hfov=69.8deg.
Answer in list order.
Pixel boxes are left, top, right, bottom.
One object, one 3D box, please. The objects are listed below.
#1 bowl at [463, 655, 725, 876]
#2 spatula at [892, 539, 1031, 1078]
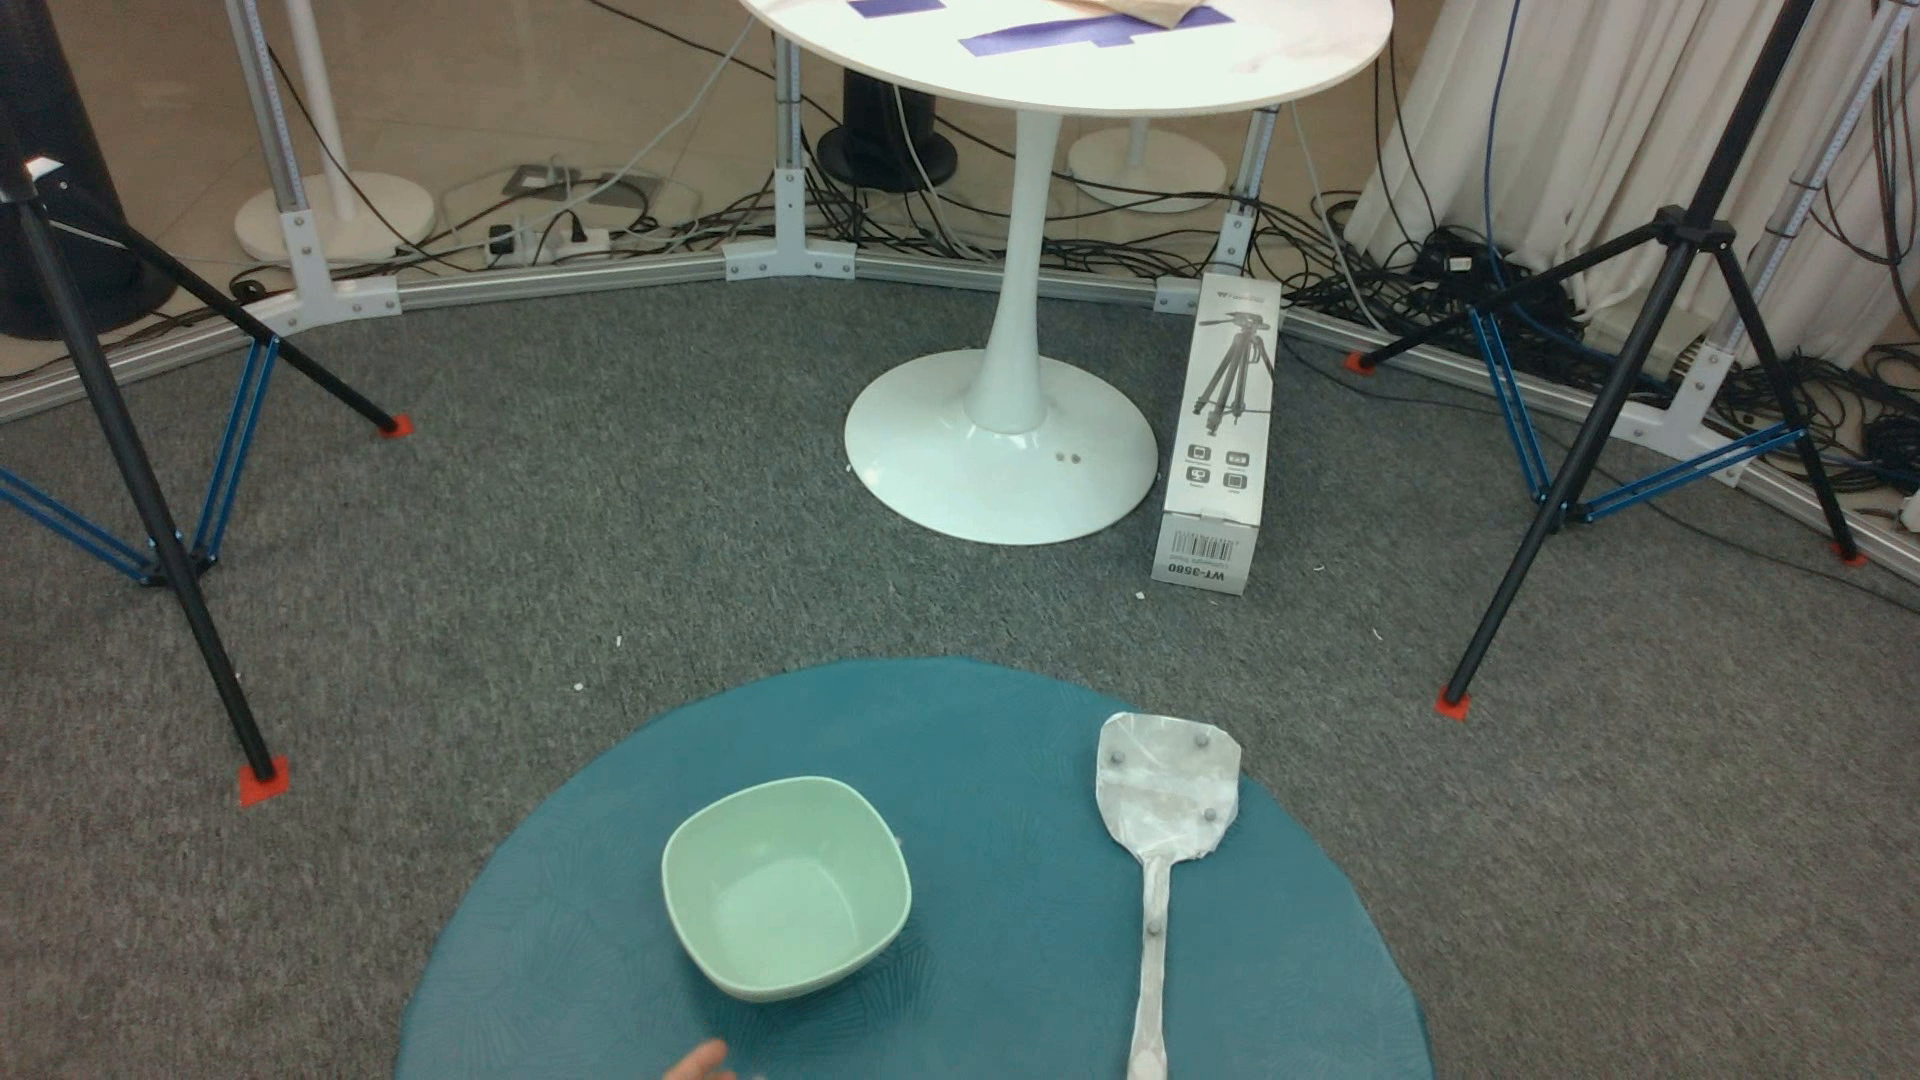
[{"bbox_3d":[-0.217,0.143,0.825,0.151,0.058,0.152,5,44,-4],"label":"bowl"},{"bbox_3d":[0.001,0.149,0.868,0.099,0.044,0.366,6,47,-7],"label":"spatula"}]
